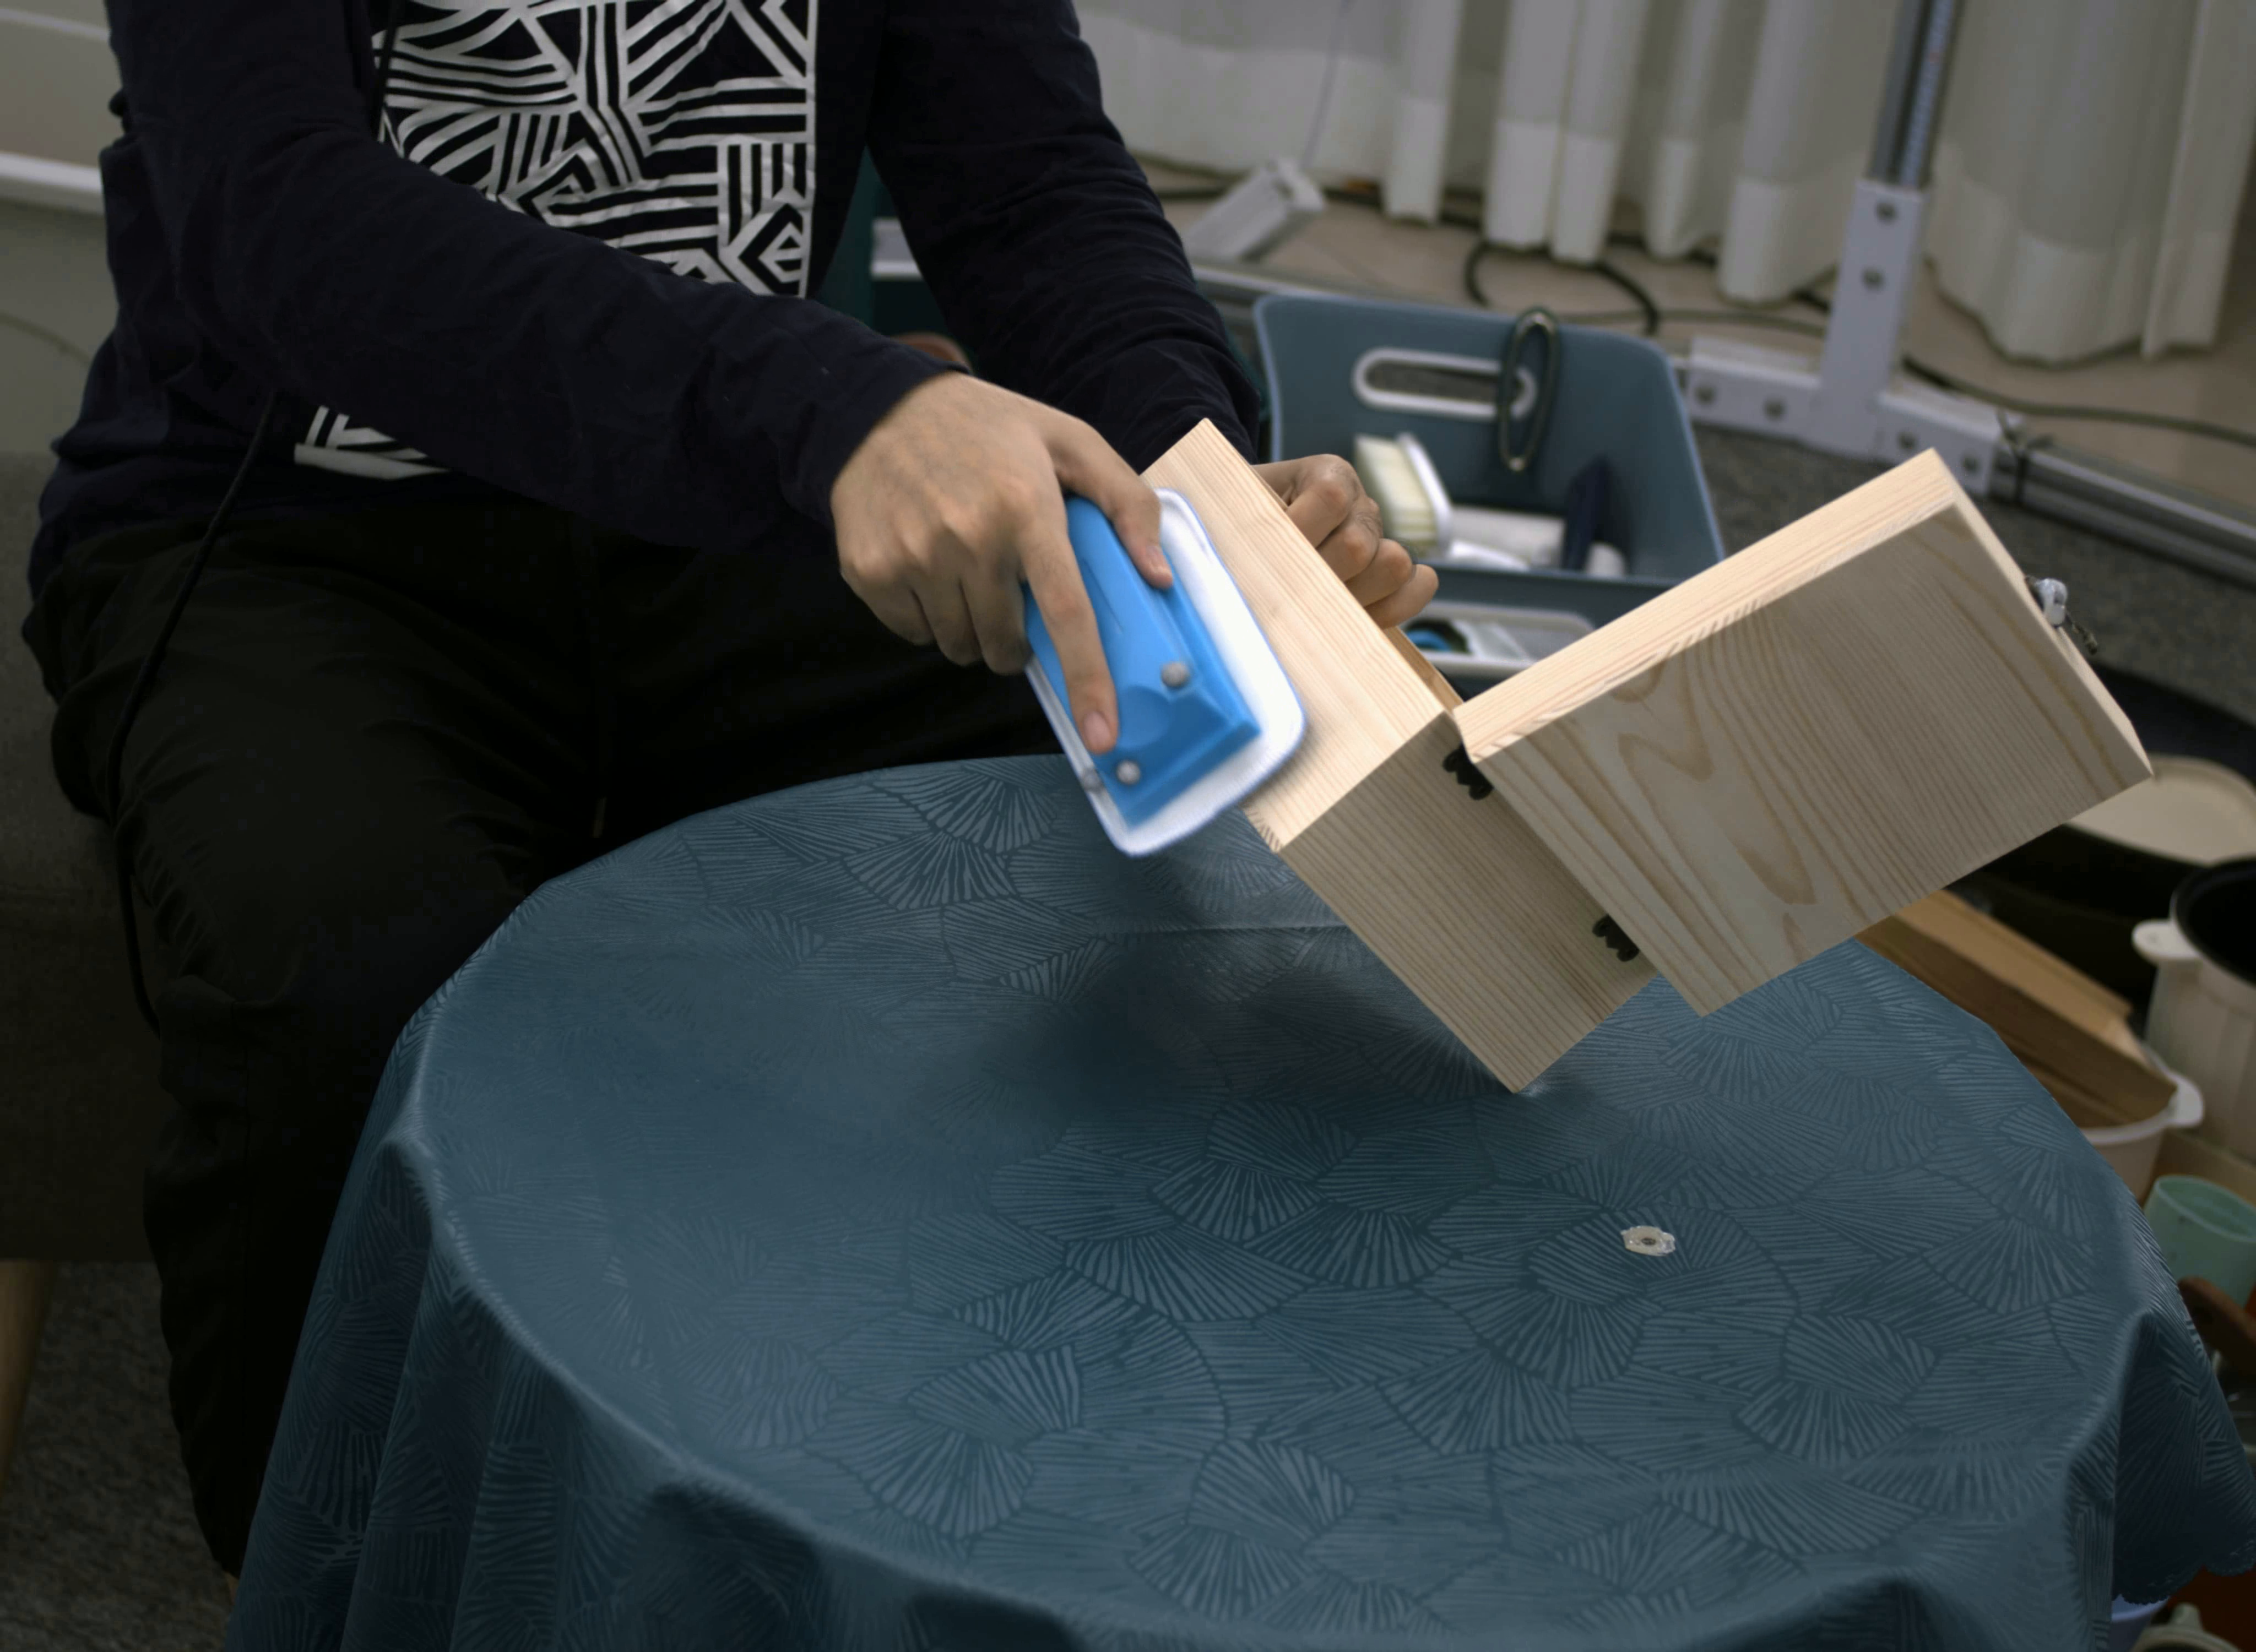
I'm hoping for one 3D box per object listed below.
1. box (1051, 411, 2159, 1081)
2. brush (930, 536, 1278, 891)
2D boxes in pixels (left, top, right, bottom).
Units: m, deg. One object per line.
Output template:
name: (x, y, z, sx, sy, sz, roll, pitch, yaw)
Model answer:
box: (0.164, -0.065, 1.858, 0.180, 0.253, 0.268, 44, 7, -47)
brush: (-0.013, -0.046, 1.815, 0.084, 0.055, 0.145, -36, 49, -1)
